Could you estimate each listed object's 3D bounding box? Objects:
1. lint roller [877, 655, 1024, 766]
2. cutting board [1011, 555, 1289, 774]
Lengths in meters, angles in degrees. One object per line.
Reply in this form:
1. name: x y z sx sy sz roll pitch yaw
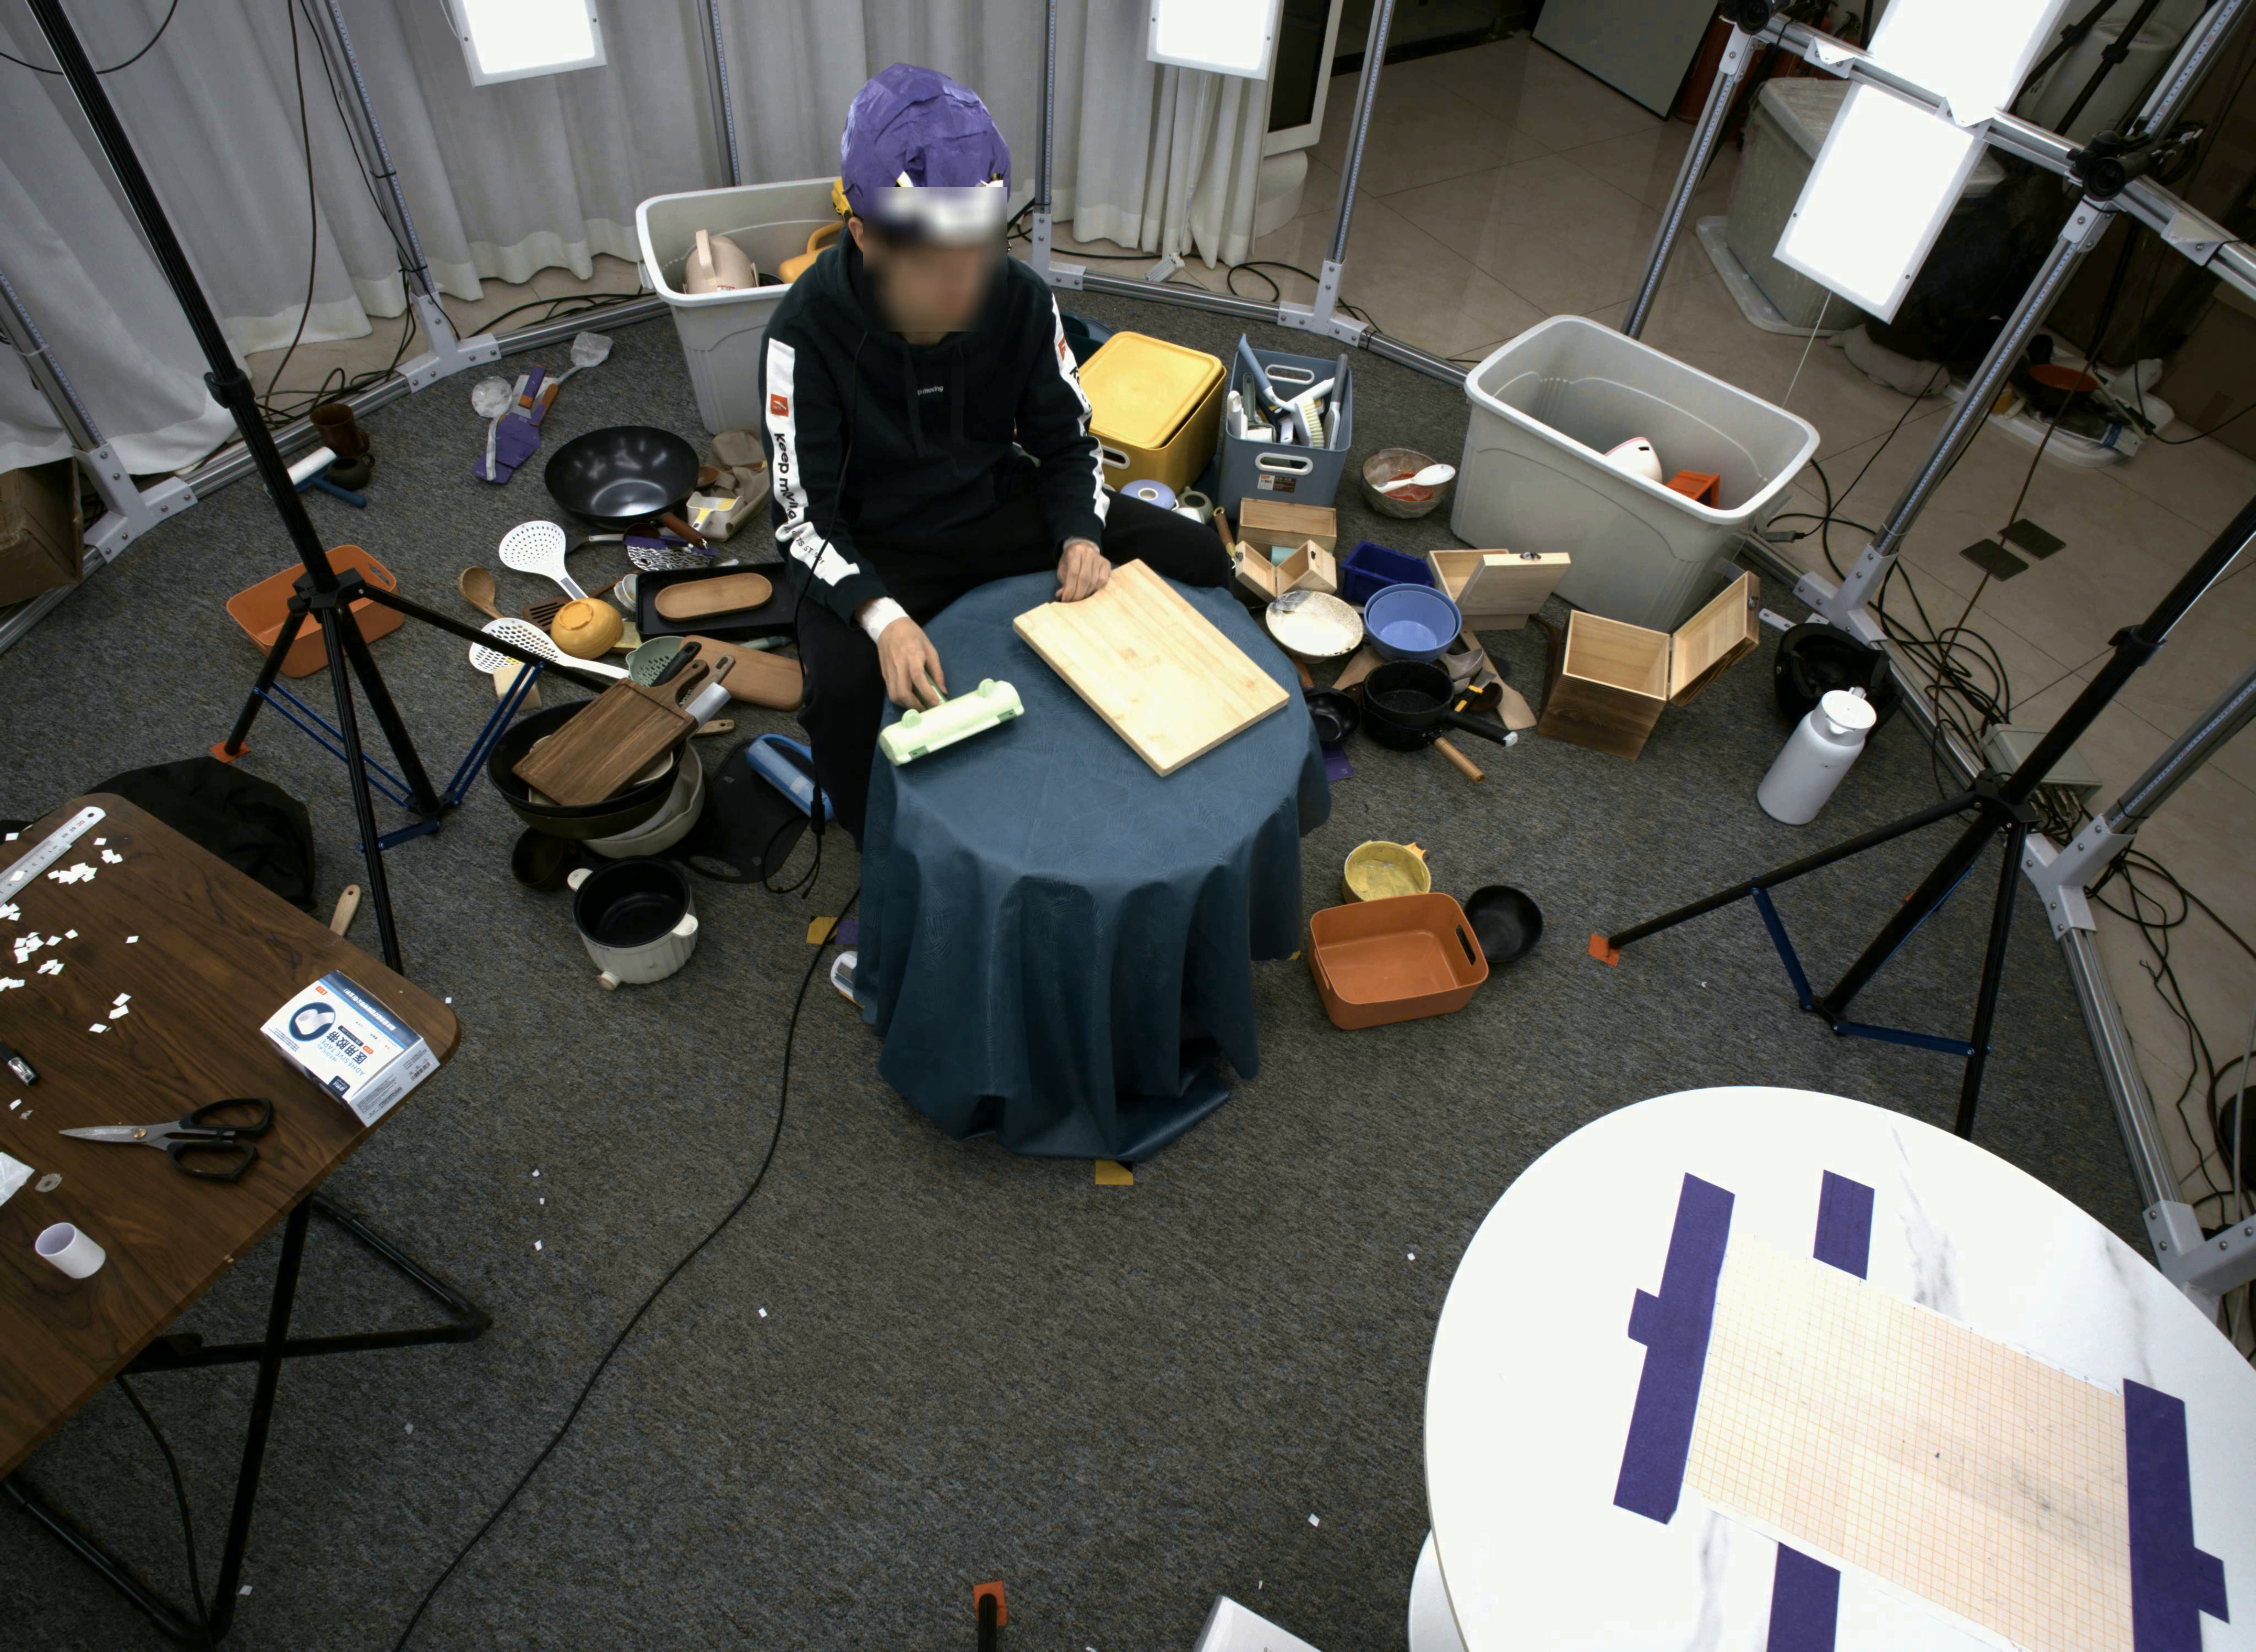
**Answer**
1. lint roller: -0.268 -0.185 1.754 0.199 0.080 0.186 -25 64 -23
2. cutting board: 0.029 -0.241 1.852 0.252 0.023 0.354 -31 62 -27
